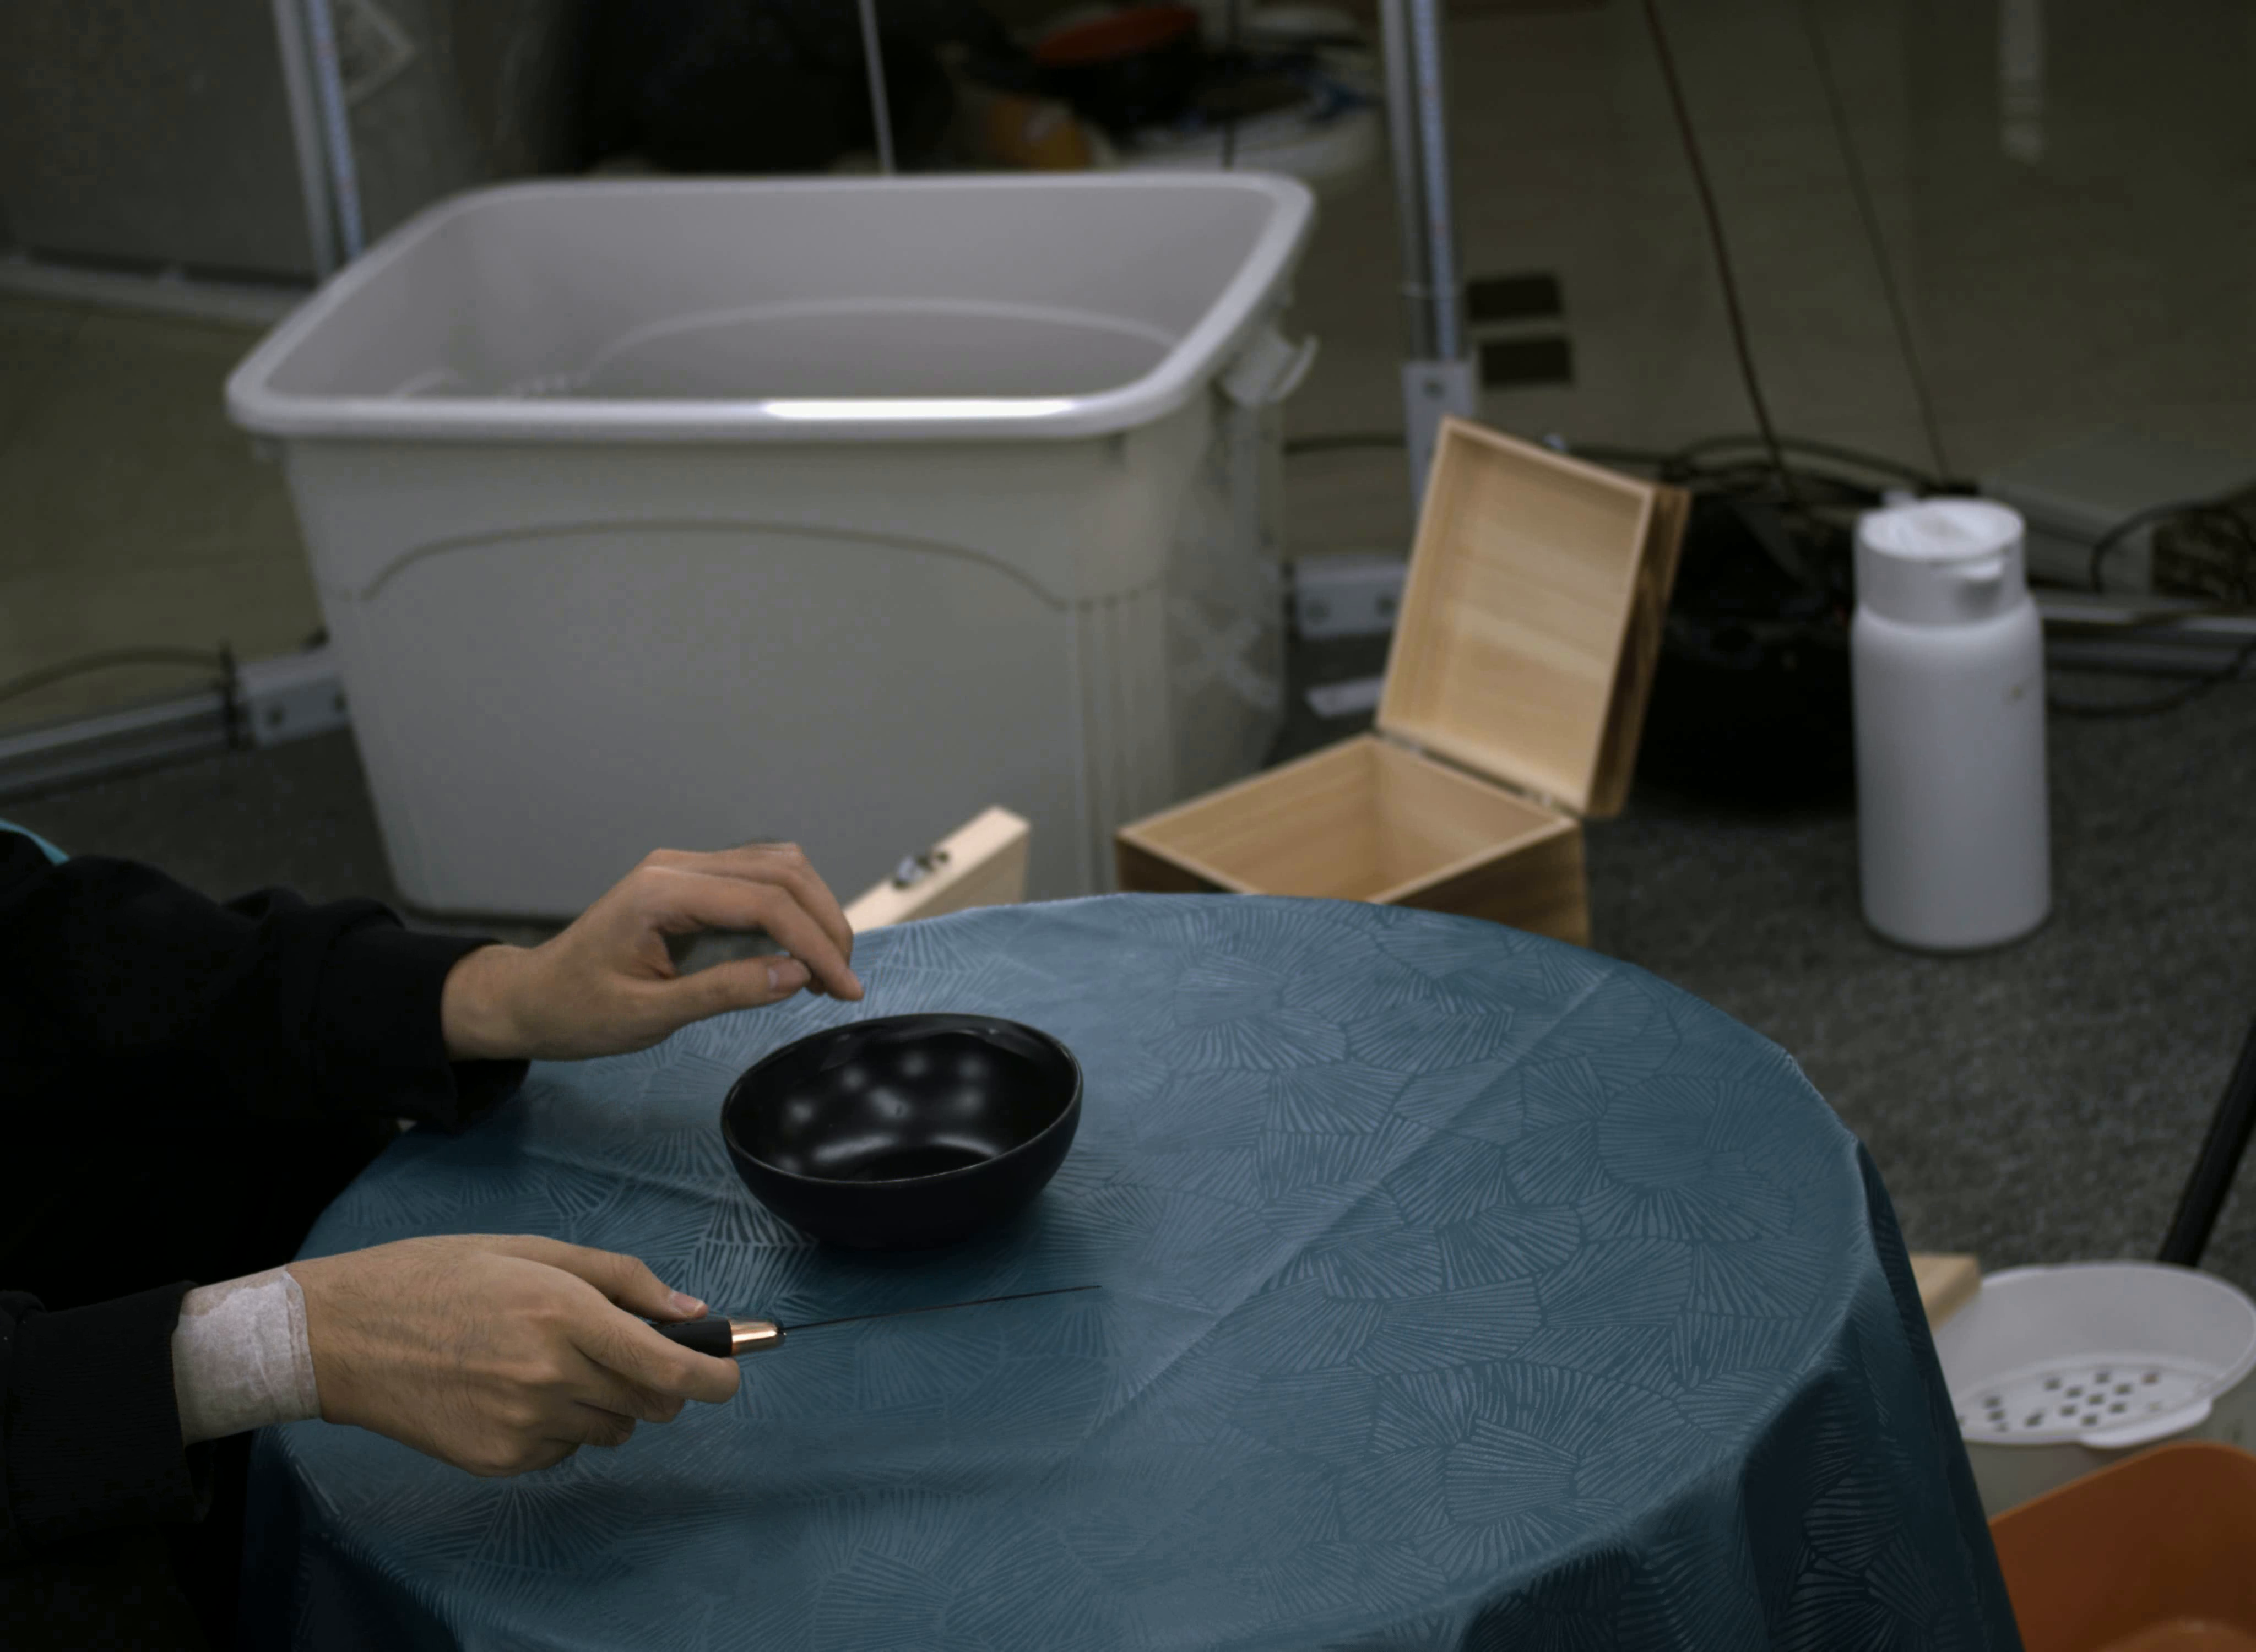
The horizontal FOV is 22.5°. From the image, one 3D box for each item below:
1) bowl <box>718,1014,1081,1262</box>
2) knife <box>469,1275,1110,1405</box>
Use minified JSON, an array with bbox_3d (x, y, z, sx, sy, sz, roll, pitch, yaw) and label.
[{"bbox_3d":[-0.083,0.126,2.143,0.140,0.050,0.138,-9,27,5],"label":"bowl"},{"bbox_3d":[-0.117,0.176,1.972,0.225,0.017,0.026,-10,-5,1],"label":"knife"}]
